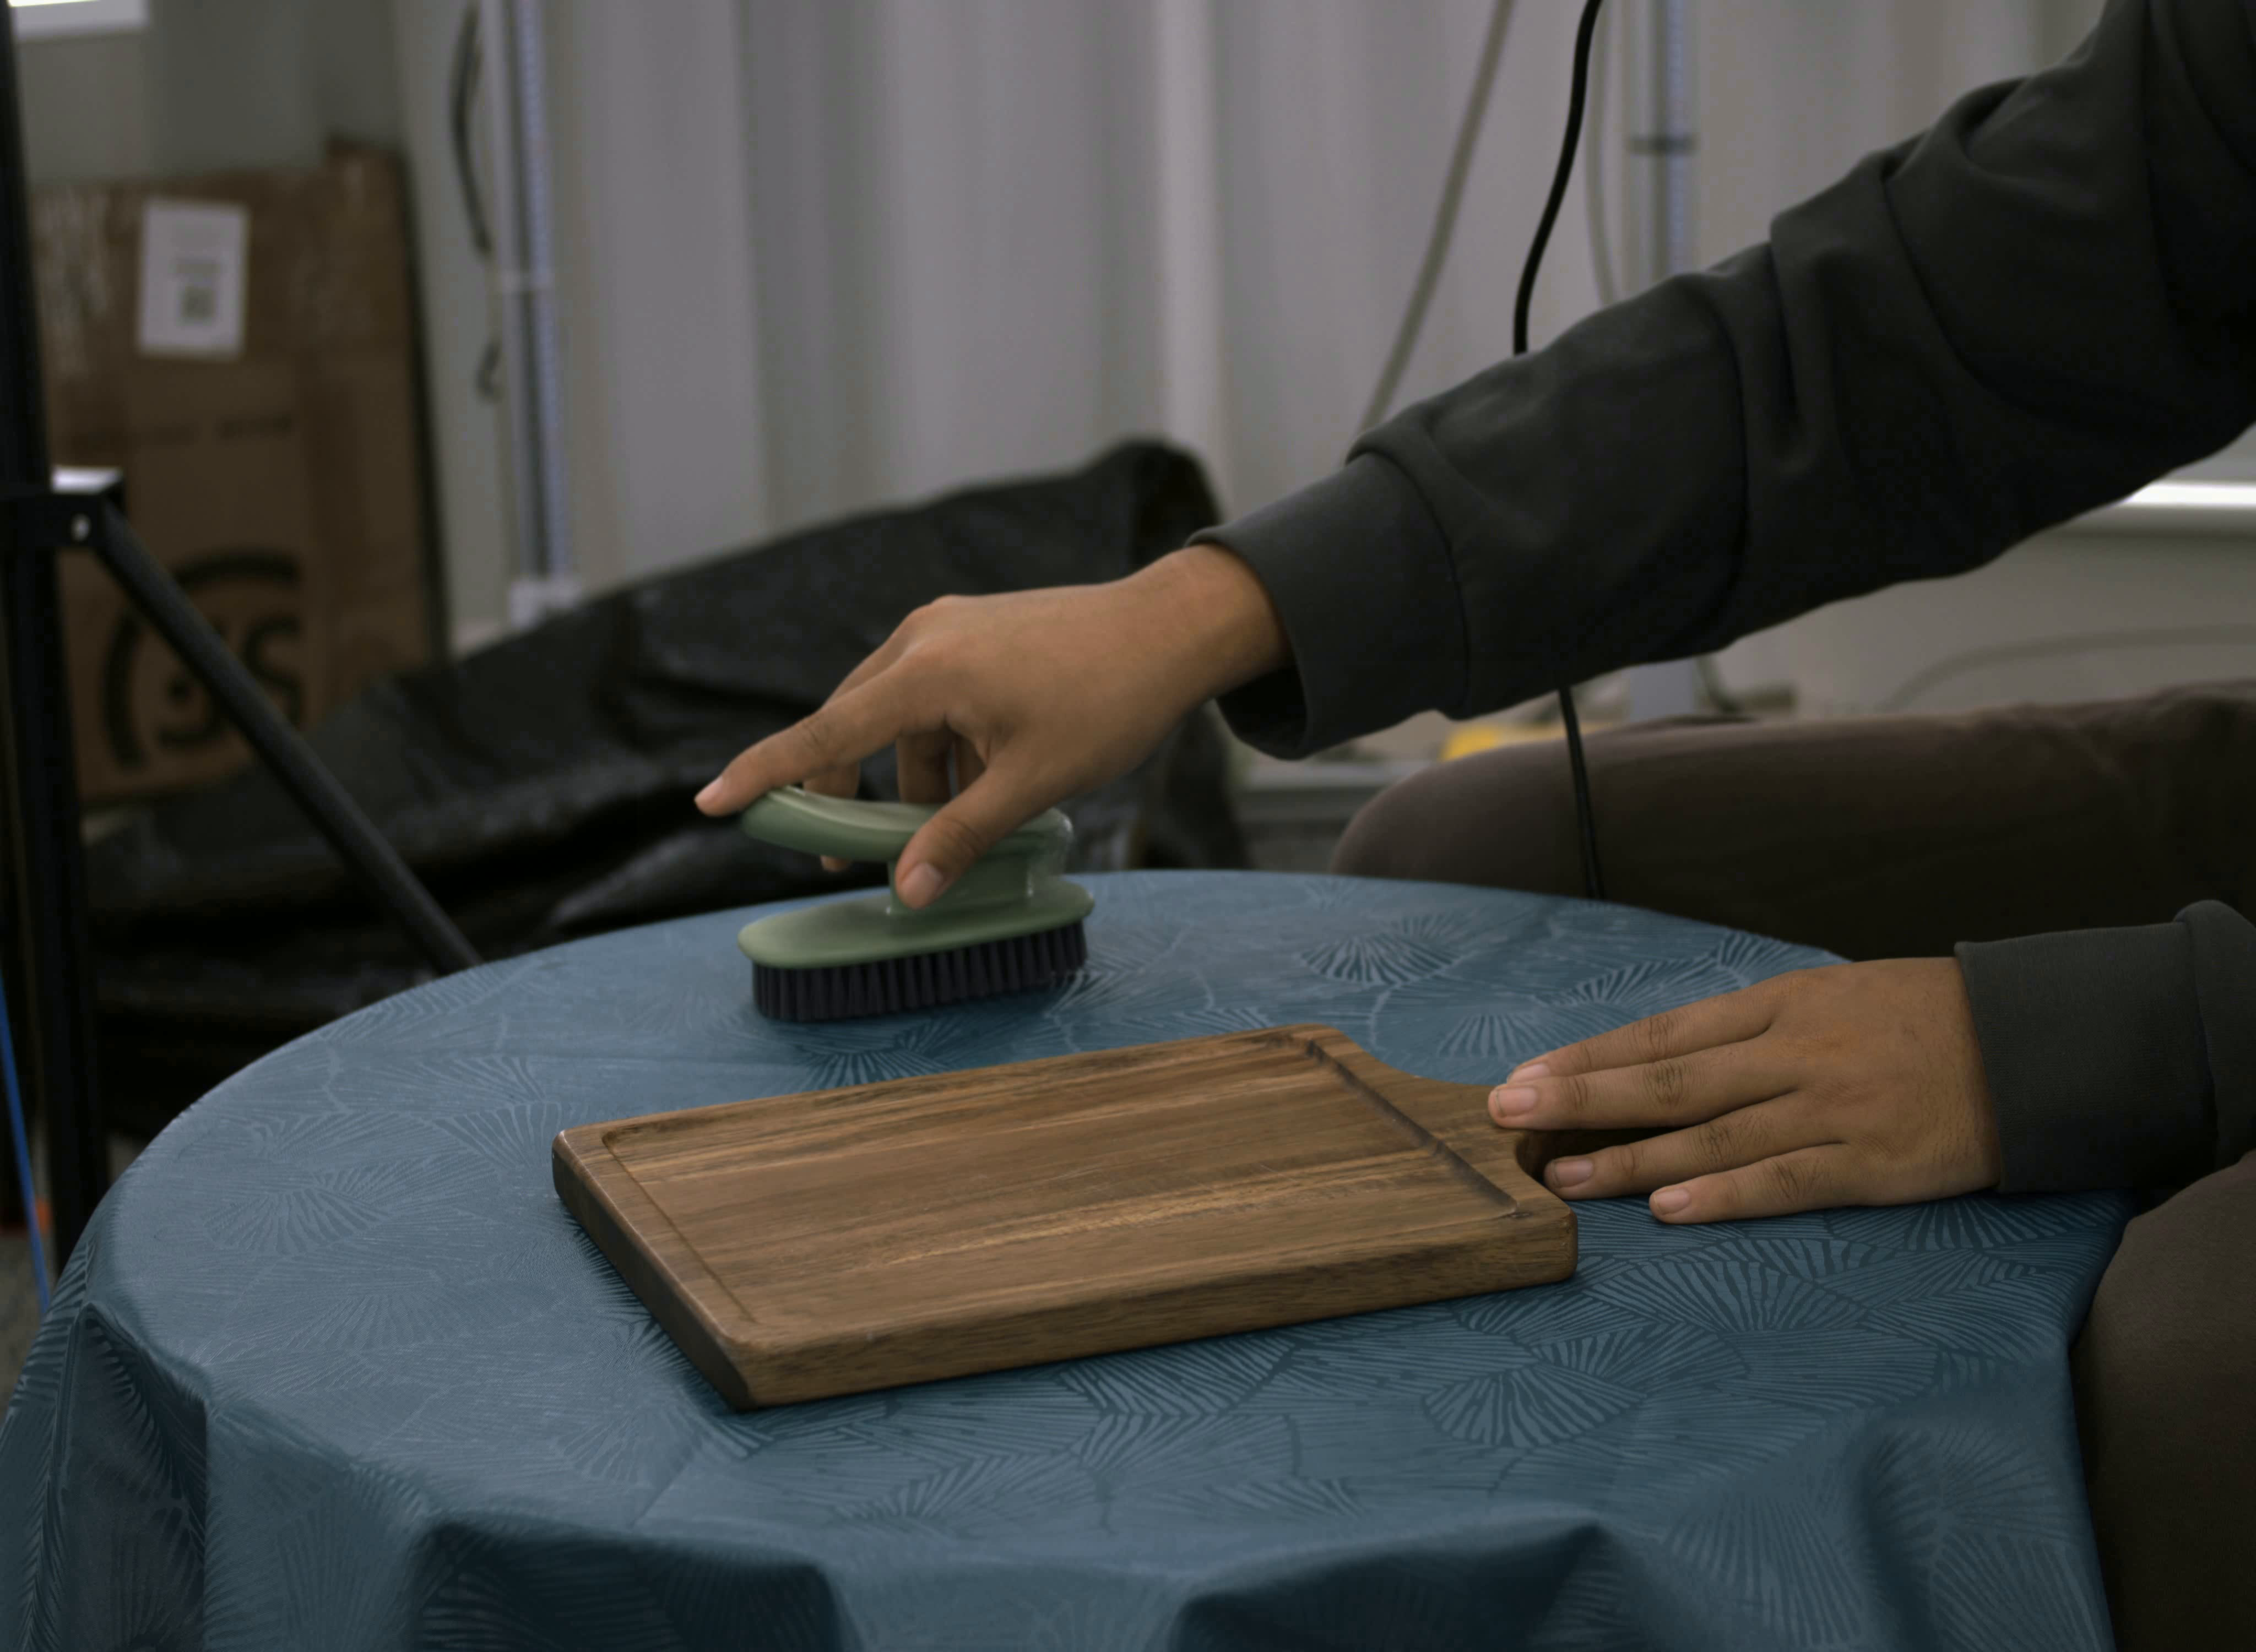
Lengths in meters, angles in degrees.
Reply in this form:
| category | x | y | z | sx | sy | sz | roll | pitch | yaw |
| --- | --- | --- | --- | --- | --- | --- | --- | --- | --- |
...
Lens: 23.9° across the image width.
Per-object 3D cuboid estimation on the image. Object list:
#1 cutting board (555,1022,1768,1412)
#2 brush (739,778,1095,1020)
| category | x | y | z | sx | sy | sz | roll | pitch | yaw |
| --- | --- | --- | --- | --- | --- | --- | --- | --- | --- |
| cutting board | 0.026 | 0.102 | 1.535 | 0.346 | 0.023 | 0.204 | -7 | 17 | -17 |
| brush | -0.071 | 0.026 | 1.748 | 0.120 | 0.076 | 0.060 | 5 | 11 | -21 |
